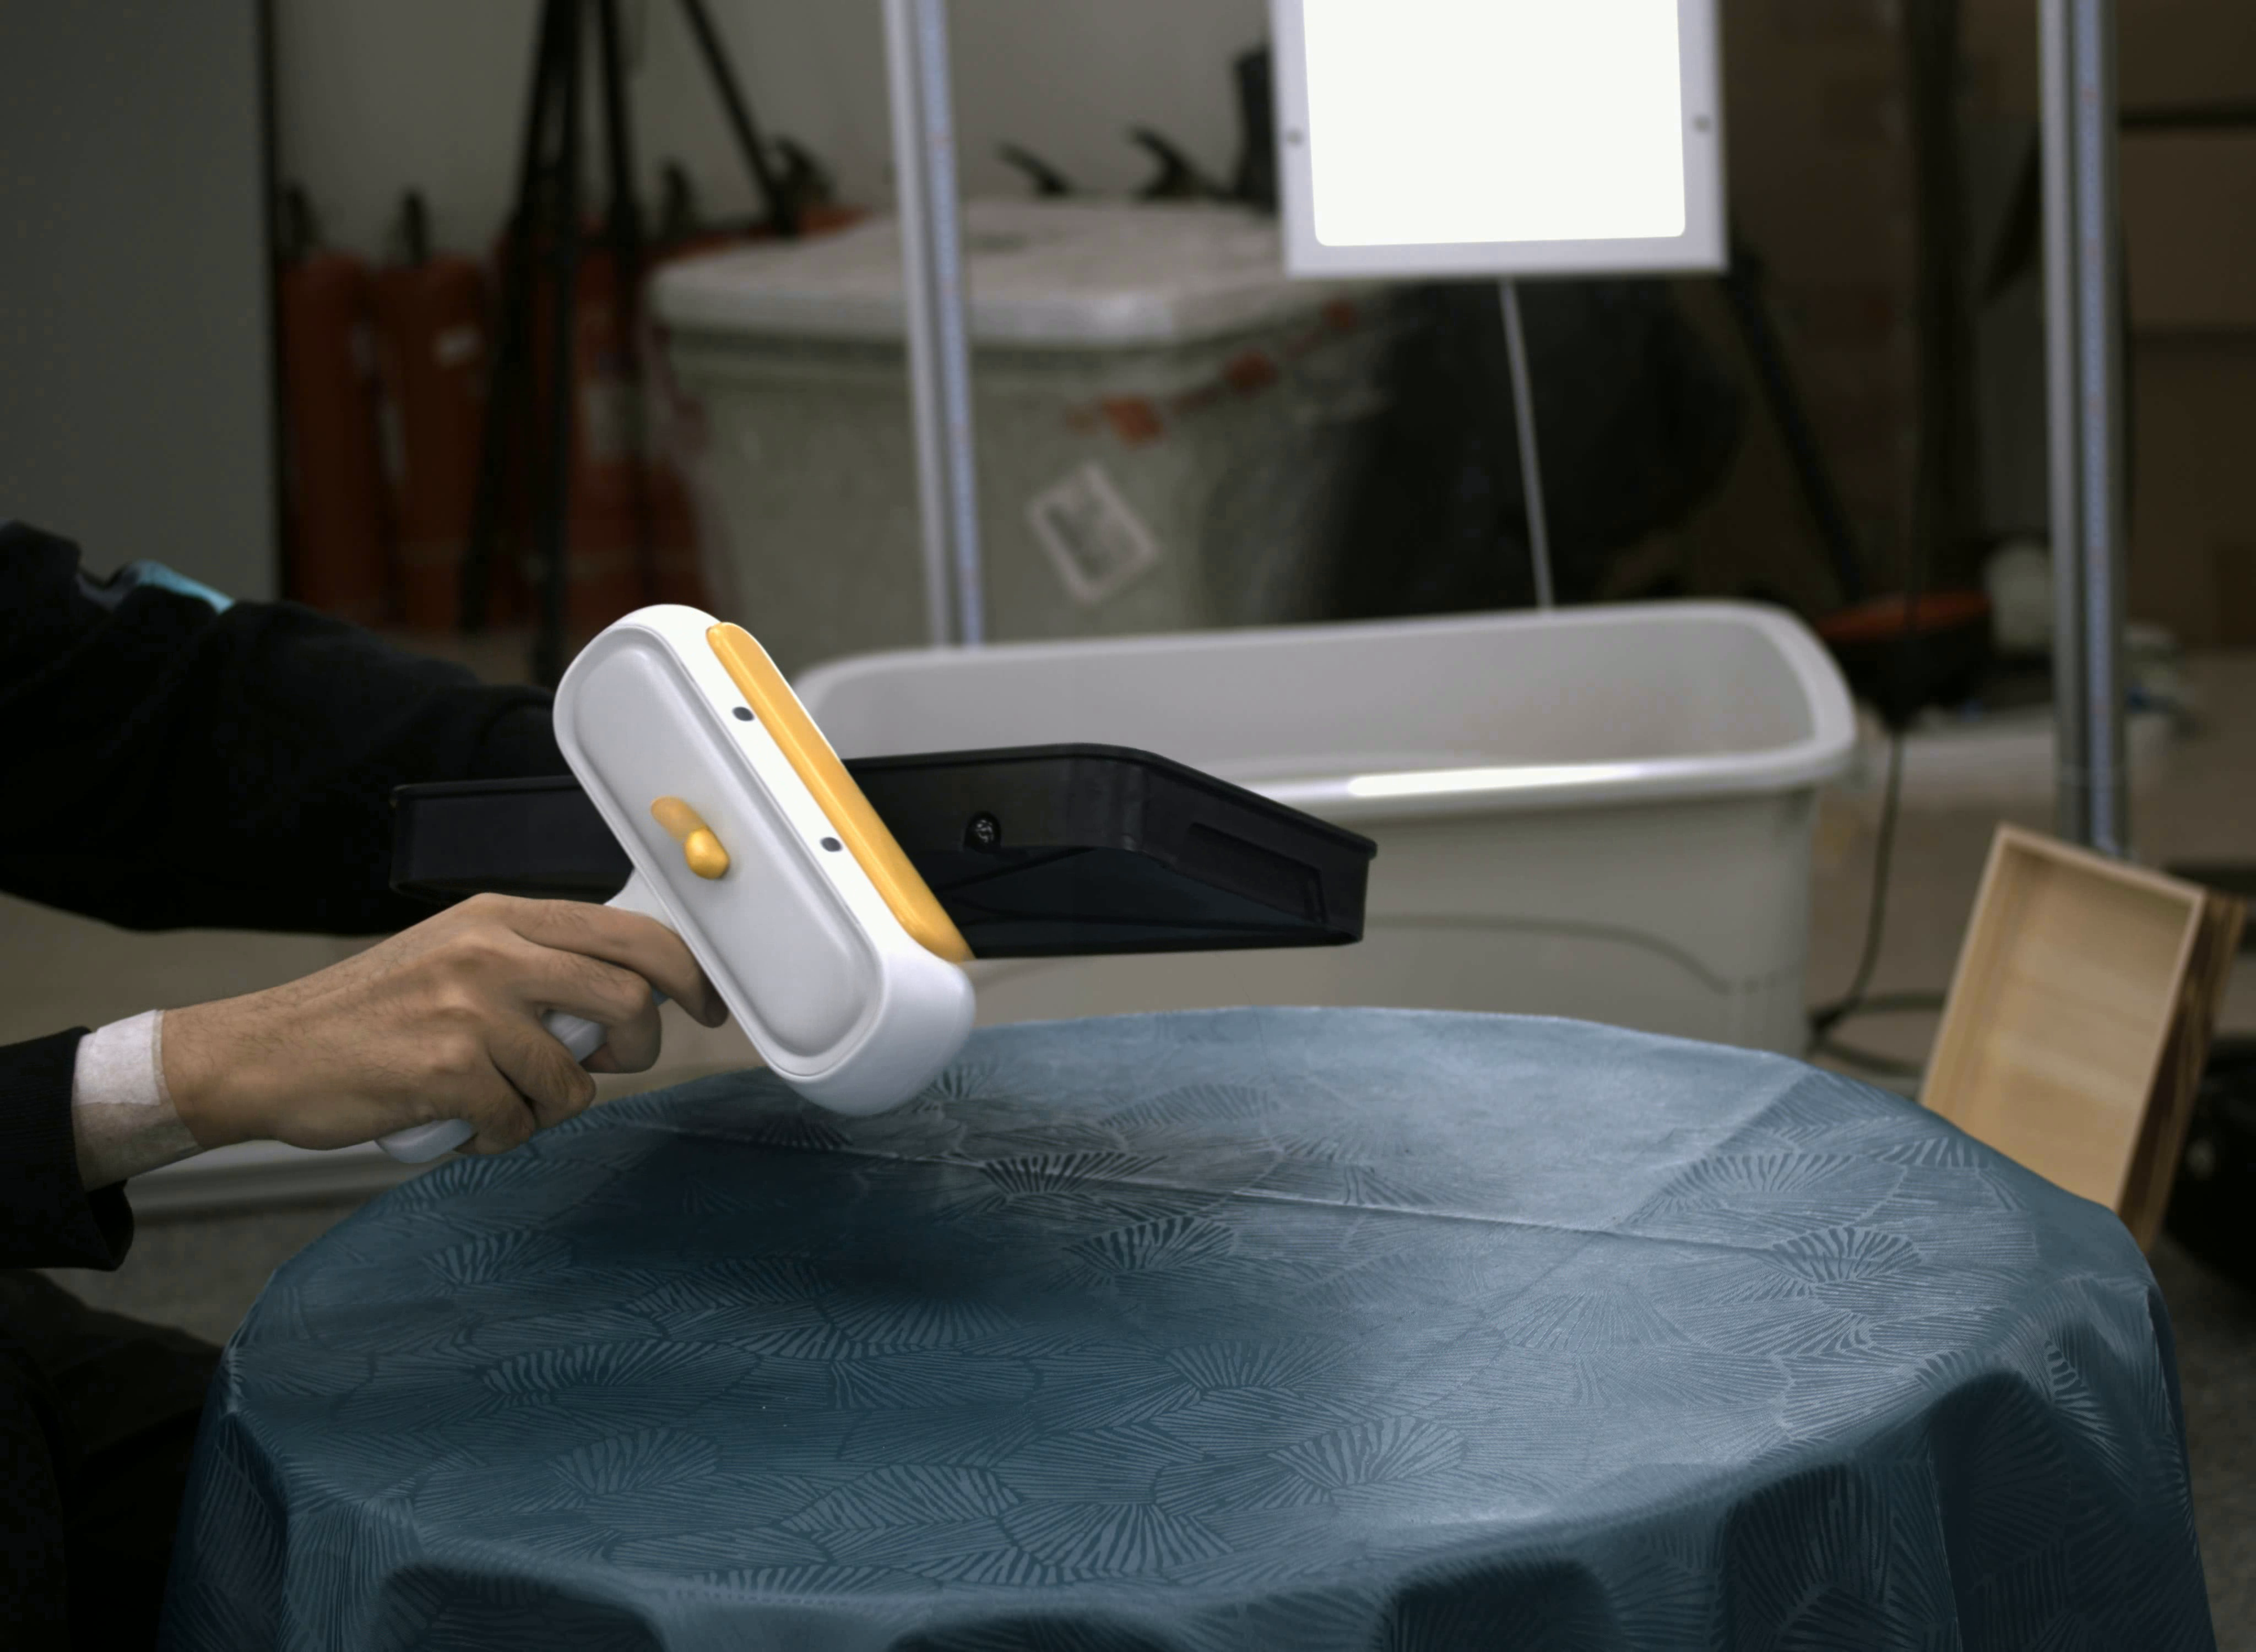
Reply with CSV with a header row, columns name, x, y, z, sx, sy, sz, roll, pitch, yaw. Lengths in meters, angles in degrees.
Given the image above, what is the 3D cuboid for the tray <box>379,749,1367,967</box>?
name,x,y,z,sx,sy,sz,roll,pitch,yaw
tray,-0.091,0.016,1.921,0.324,0.037,0.180,-2,-13,33

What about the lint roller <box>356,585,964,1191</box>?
name,x,y,z,sx,sy,sz,roll,pitch,yaw
lint roller,-0.167,0.043,1.777,0.195,0.194,0.073,50,13,25
